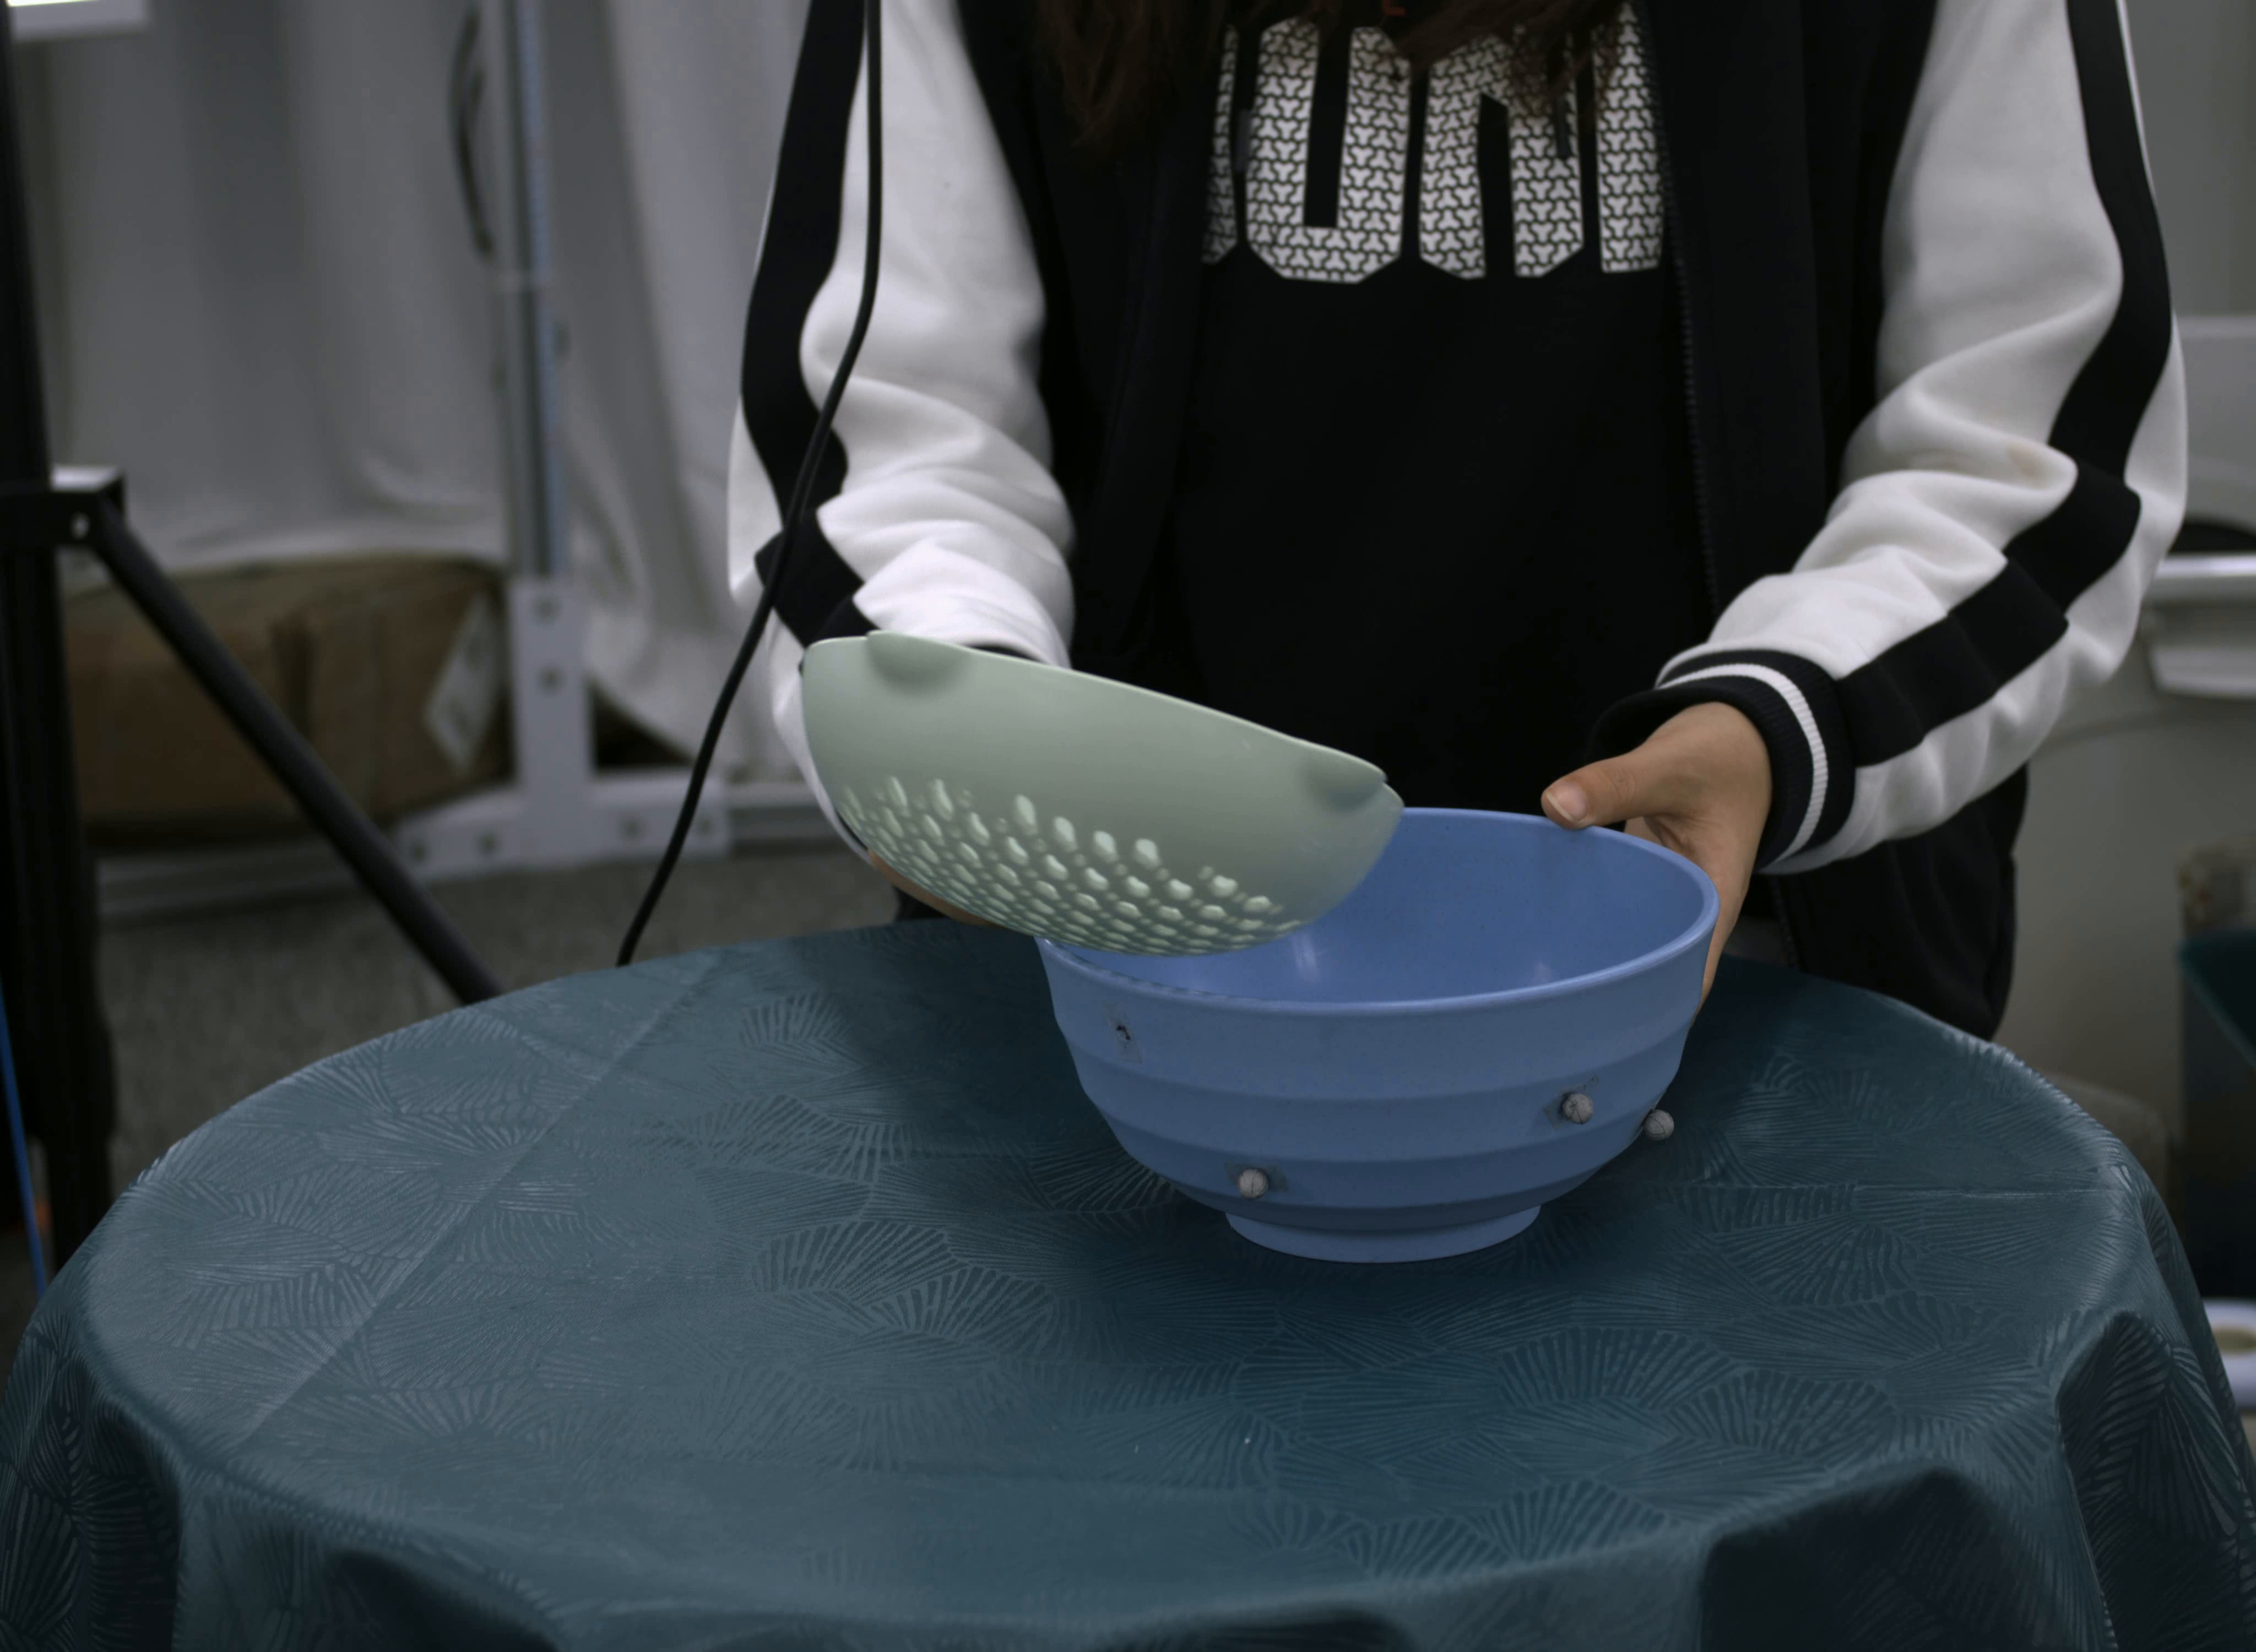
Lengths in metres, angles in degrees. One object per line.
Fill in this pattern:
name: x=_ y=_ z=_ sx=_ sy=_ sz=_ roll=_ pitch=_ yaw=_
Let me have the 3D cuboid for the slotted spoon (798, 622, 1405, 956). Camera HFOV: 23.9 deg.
slotted spoon: x=-0.022 y=0.000 z=1.535 sx=0.168 sy=0.075 sz=0.360 roll=16 pitch=-2 yaw=-4

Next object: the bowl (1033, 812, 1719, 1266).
bowl: x=0.071 y=0.066 z=1.520 sx=0.195 sy=0.095 sz=0.197 roll=-3 pitch=15 yaw=-1
